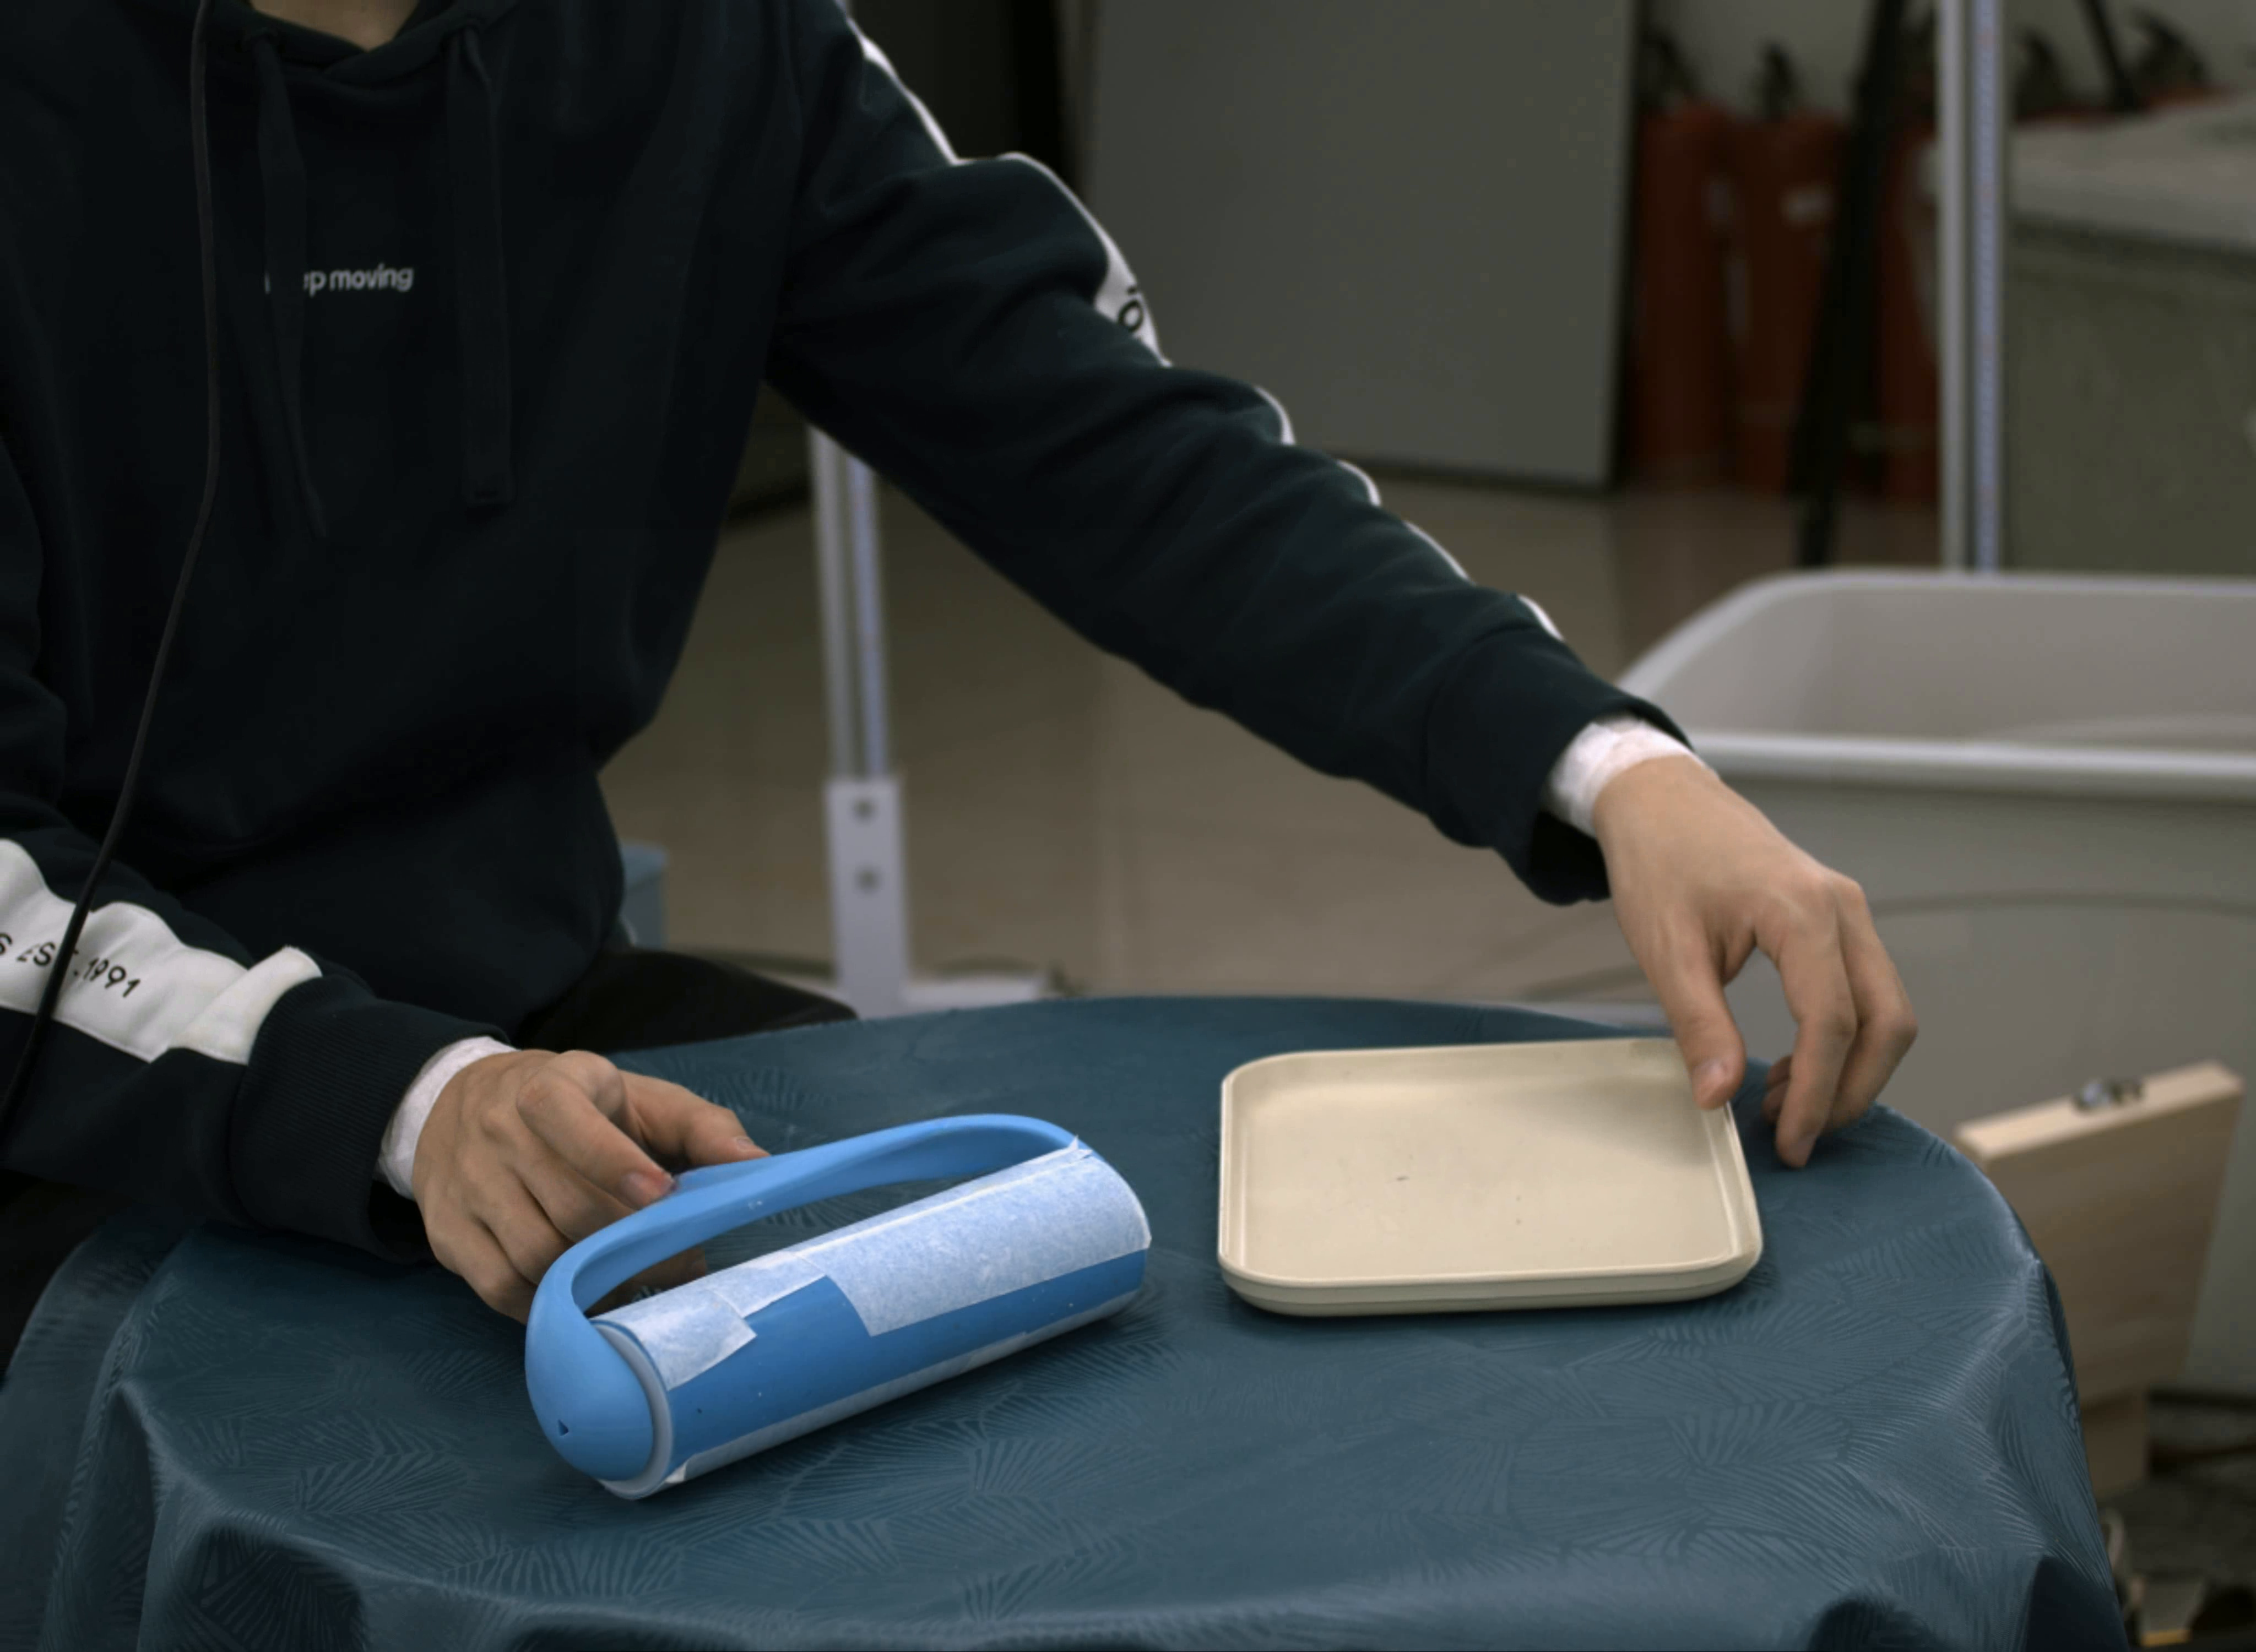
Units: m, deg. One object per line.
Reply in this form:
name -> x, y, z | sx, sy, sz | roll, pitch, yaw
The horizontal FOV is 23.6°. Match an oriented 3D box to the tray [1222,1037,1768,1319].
tray -> 0.114, 0.112, 1.735 | 0.169, 0.017, 0.239 | -4, 14, 3

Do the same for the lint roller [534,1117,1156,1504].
lint roller -> -0.120, 0.136, 1.627 | 0.182, 0.068, 0.224 | 10, 21, 42
